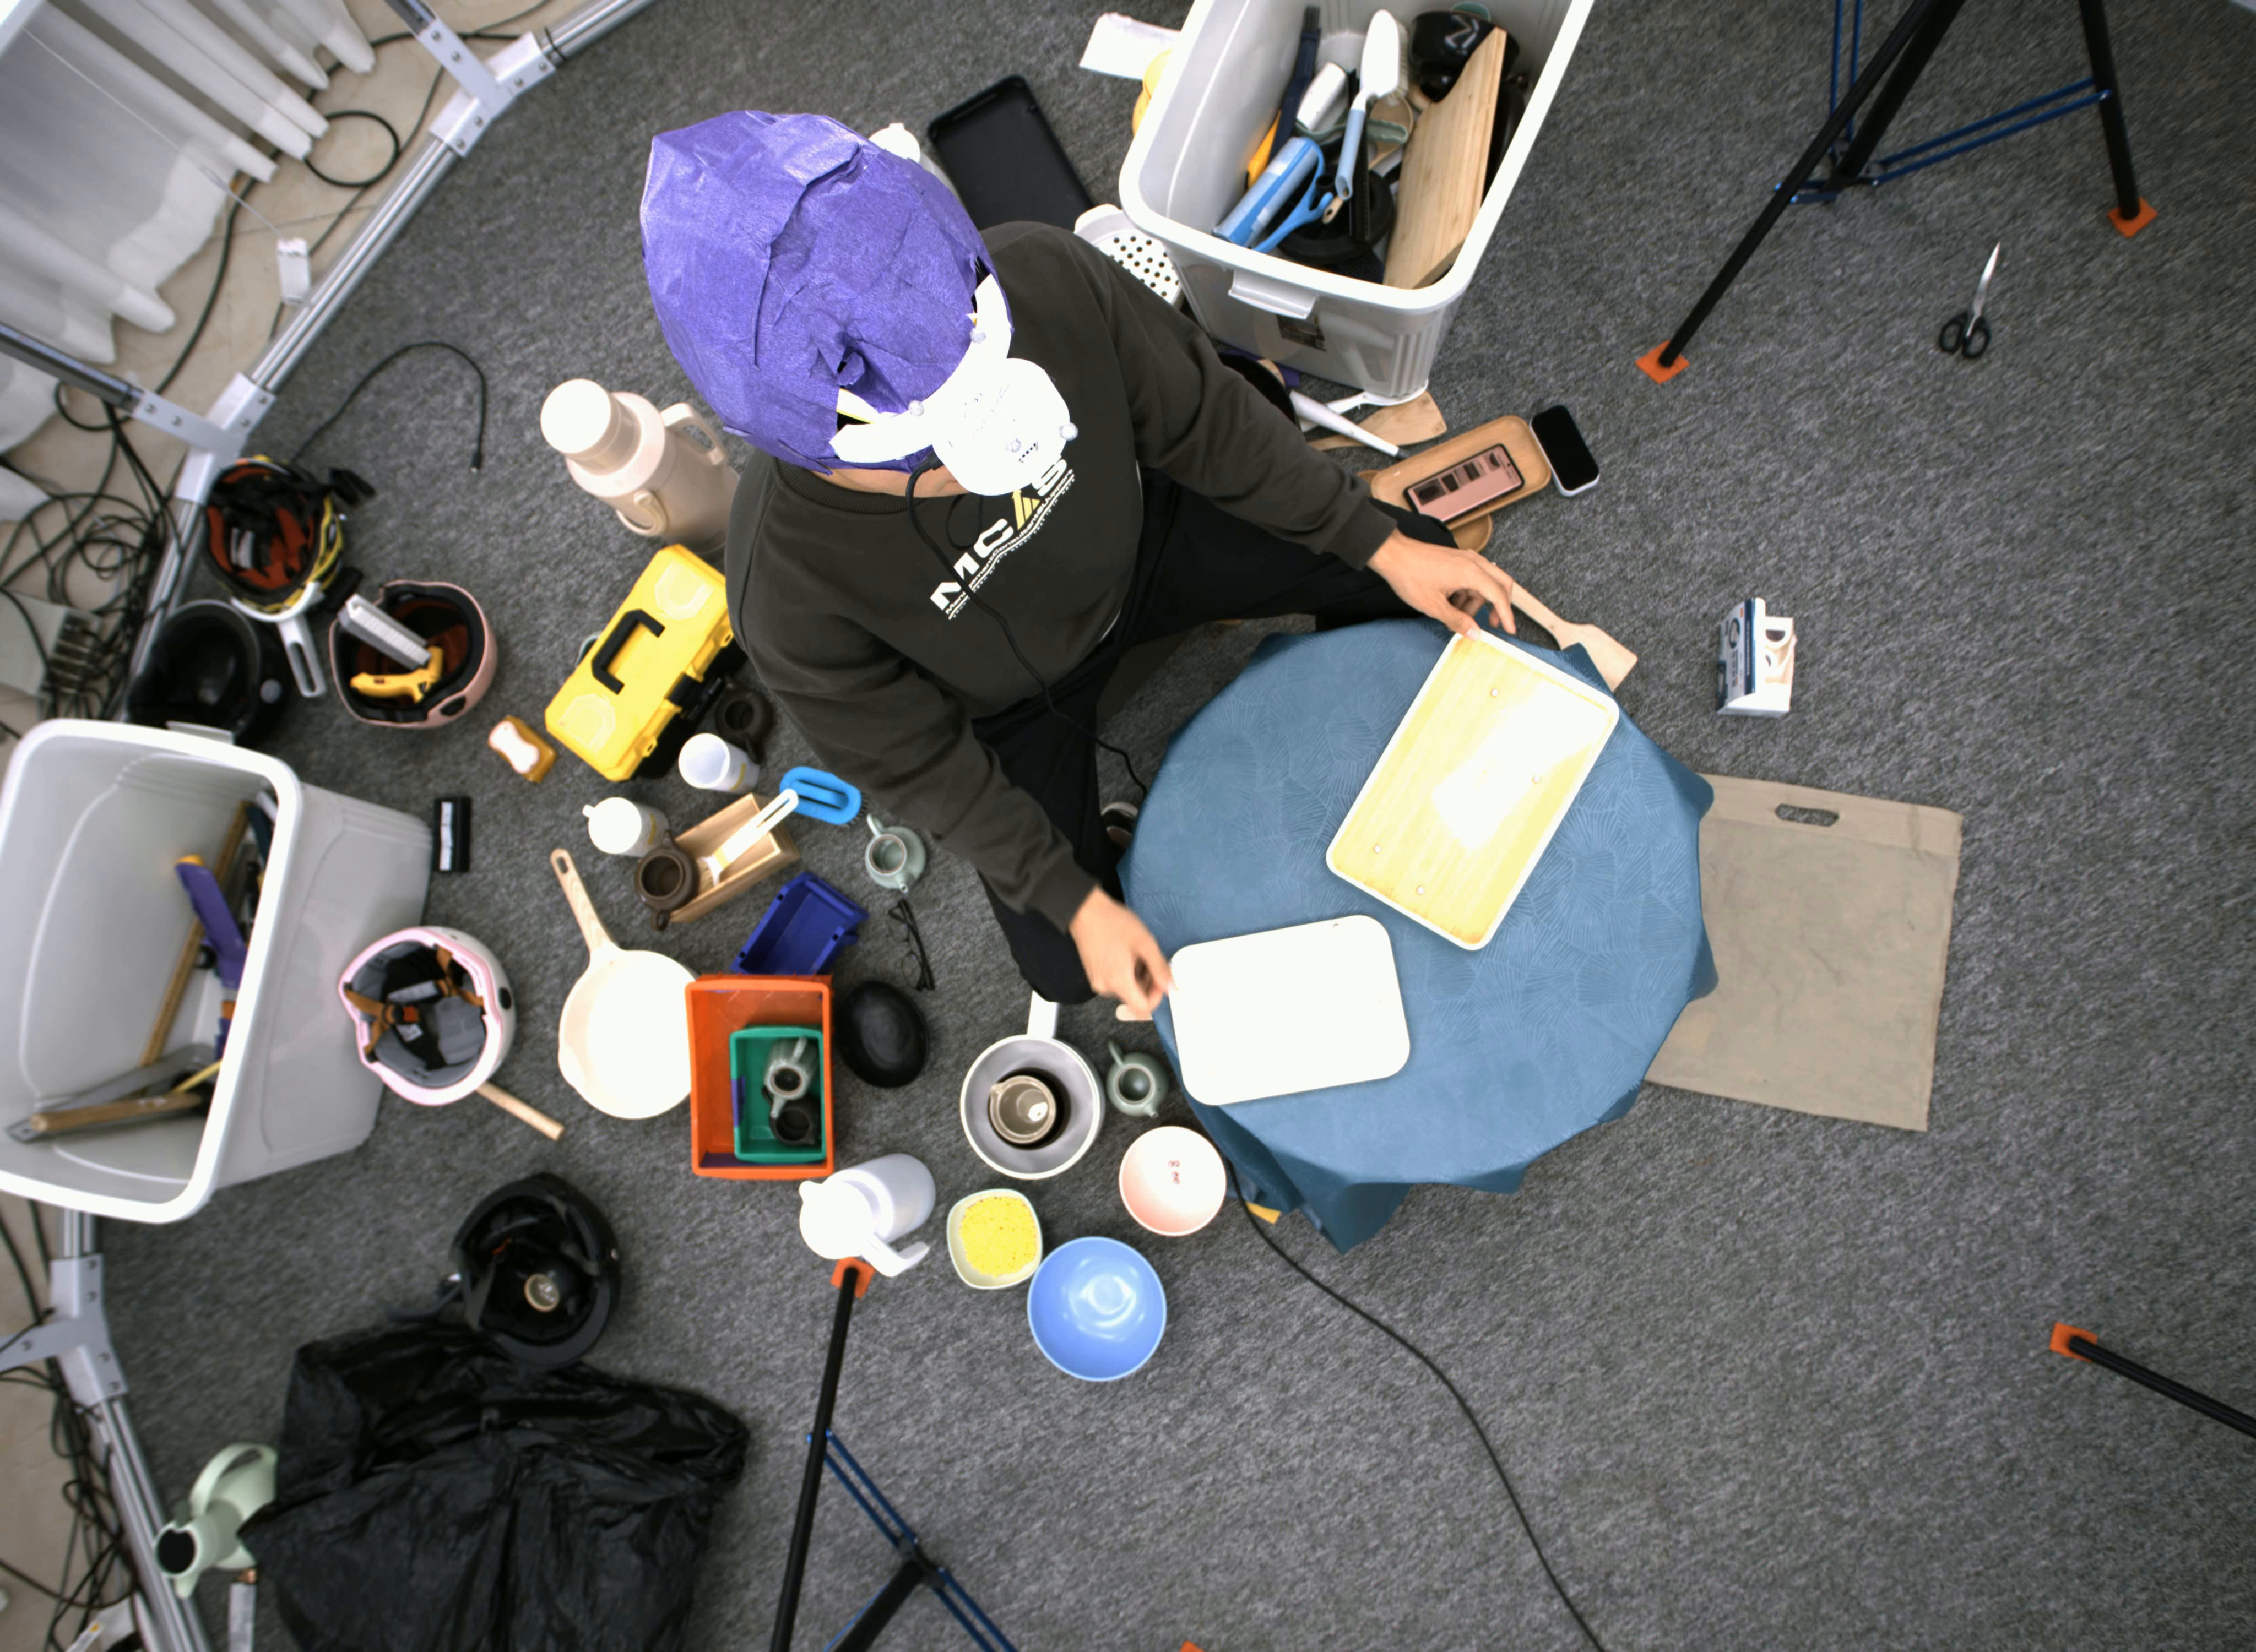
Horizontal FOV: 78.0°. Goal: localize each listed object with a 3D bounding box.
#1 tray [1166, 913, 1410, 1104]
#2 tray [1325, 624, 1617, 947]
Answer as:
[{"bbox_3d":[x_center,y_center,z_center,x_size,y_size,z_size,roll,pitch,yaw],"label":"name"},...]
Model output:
[{"bbox_3d":[0.167,0.192,1.463,0.241,0.017,0.170,-11,85,10],"label":"tray"},{"bbox_3d":[0.357,-0.045,1.437,0.191,0.027,0.300,31,92,11],"label":"tray"}]
